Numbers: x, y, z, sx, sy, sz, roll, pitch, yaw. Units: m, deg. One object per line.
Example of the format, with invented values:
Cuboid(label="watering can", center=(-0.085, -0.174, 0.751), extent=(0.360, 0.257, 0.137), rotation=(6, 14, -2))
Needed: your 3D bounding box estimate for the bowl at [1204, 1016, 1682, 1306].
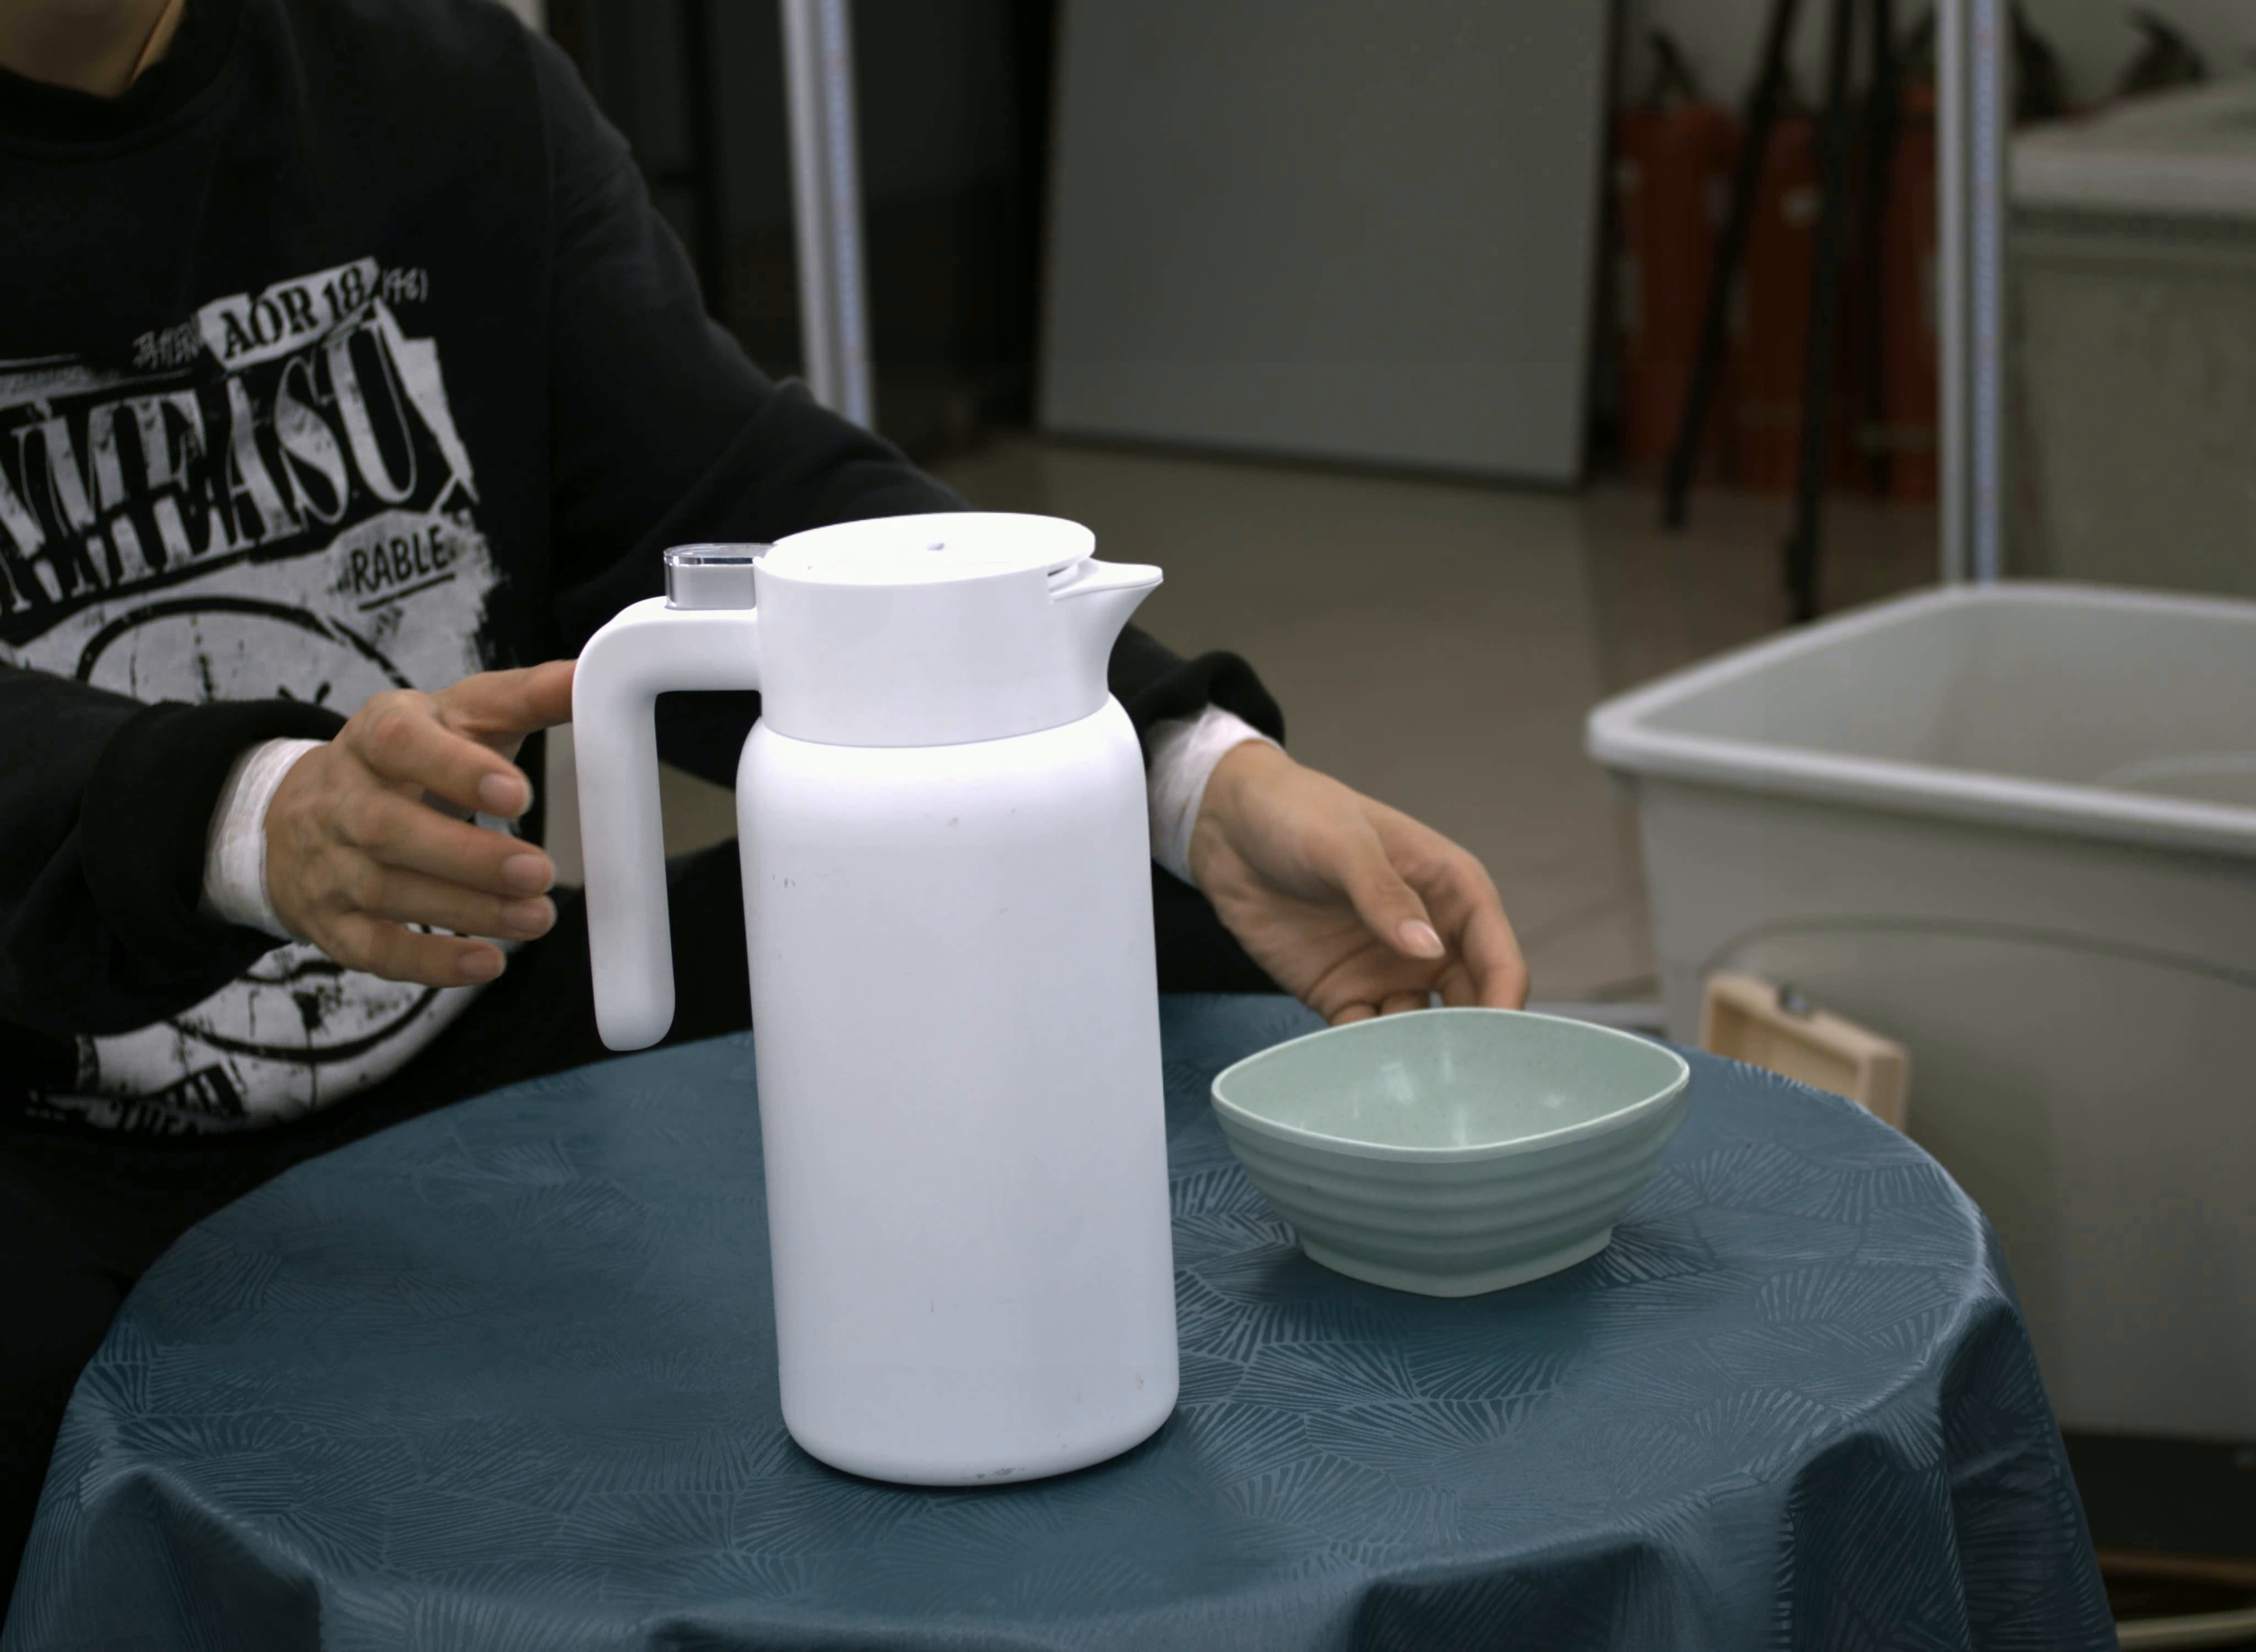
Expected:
Cuboid(label="bowl", center=(0.100, 0.108, 1.689), extent=(0.149, 0.059, 0.151), rotation=(-4, 13, 0))

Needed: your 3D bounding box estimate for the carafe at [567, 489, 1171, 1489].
Cuboid(label="carafe", center=(-0.069, 0.046, 1.540), extent=(0.171, 0.272, 0.123), rotation=(-1, 15, 11))
